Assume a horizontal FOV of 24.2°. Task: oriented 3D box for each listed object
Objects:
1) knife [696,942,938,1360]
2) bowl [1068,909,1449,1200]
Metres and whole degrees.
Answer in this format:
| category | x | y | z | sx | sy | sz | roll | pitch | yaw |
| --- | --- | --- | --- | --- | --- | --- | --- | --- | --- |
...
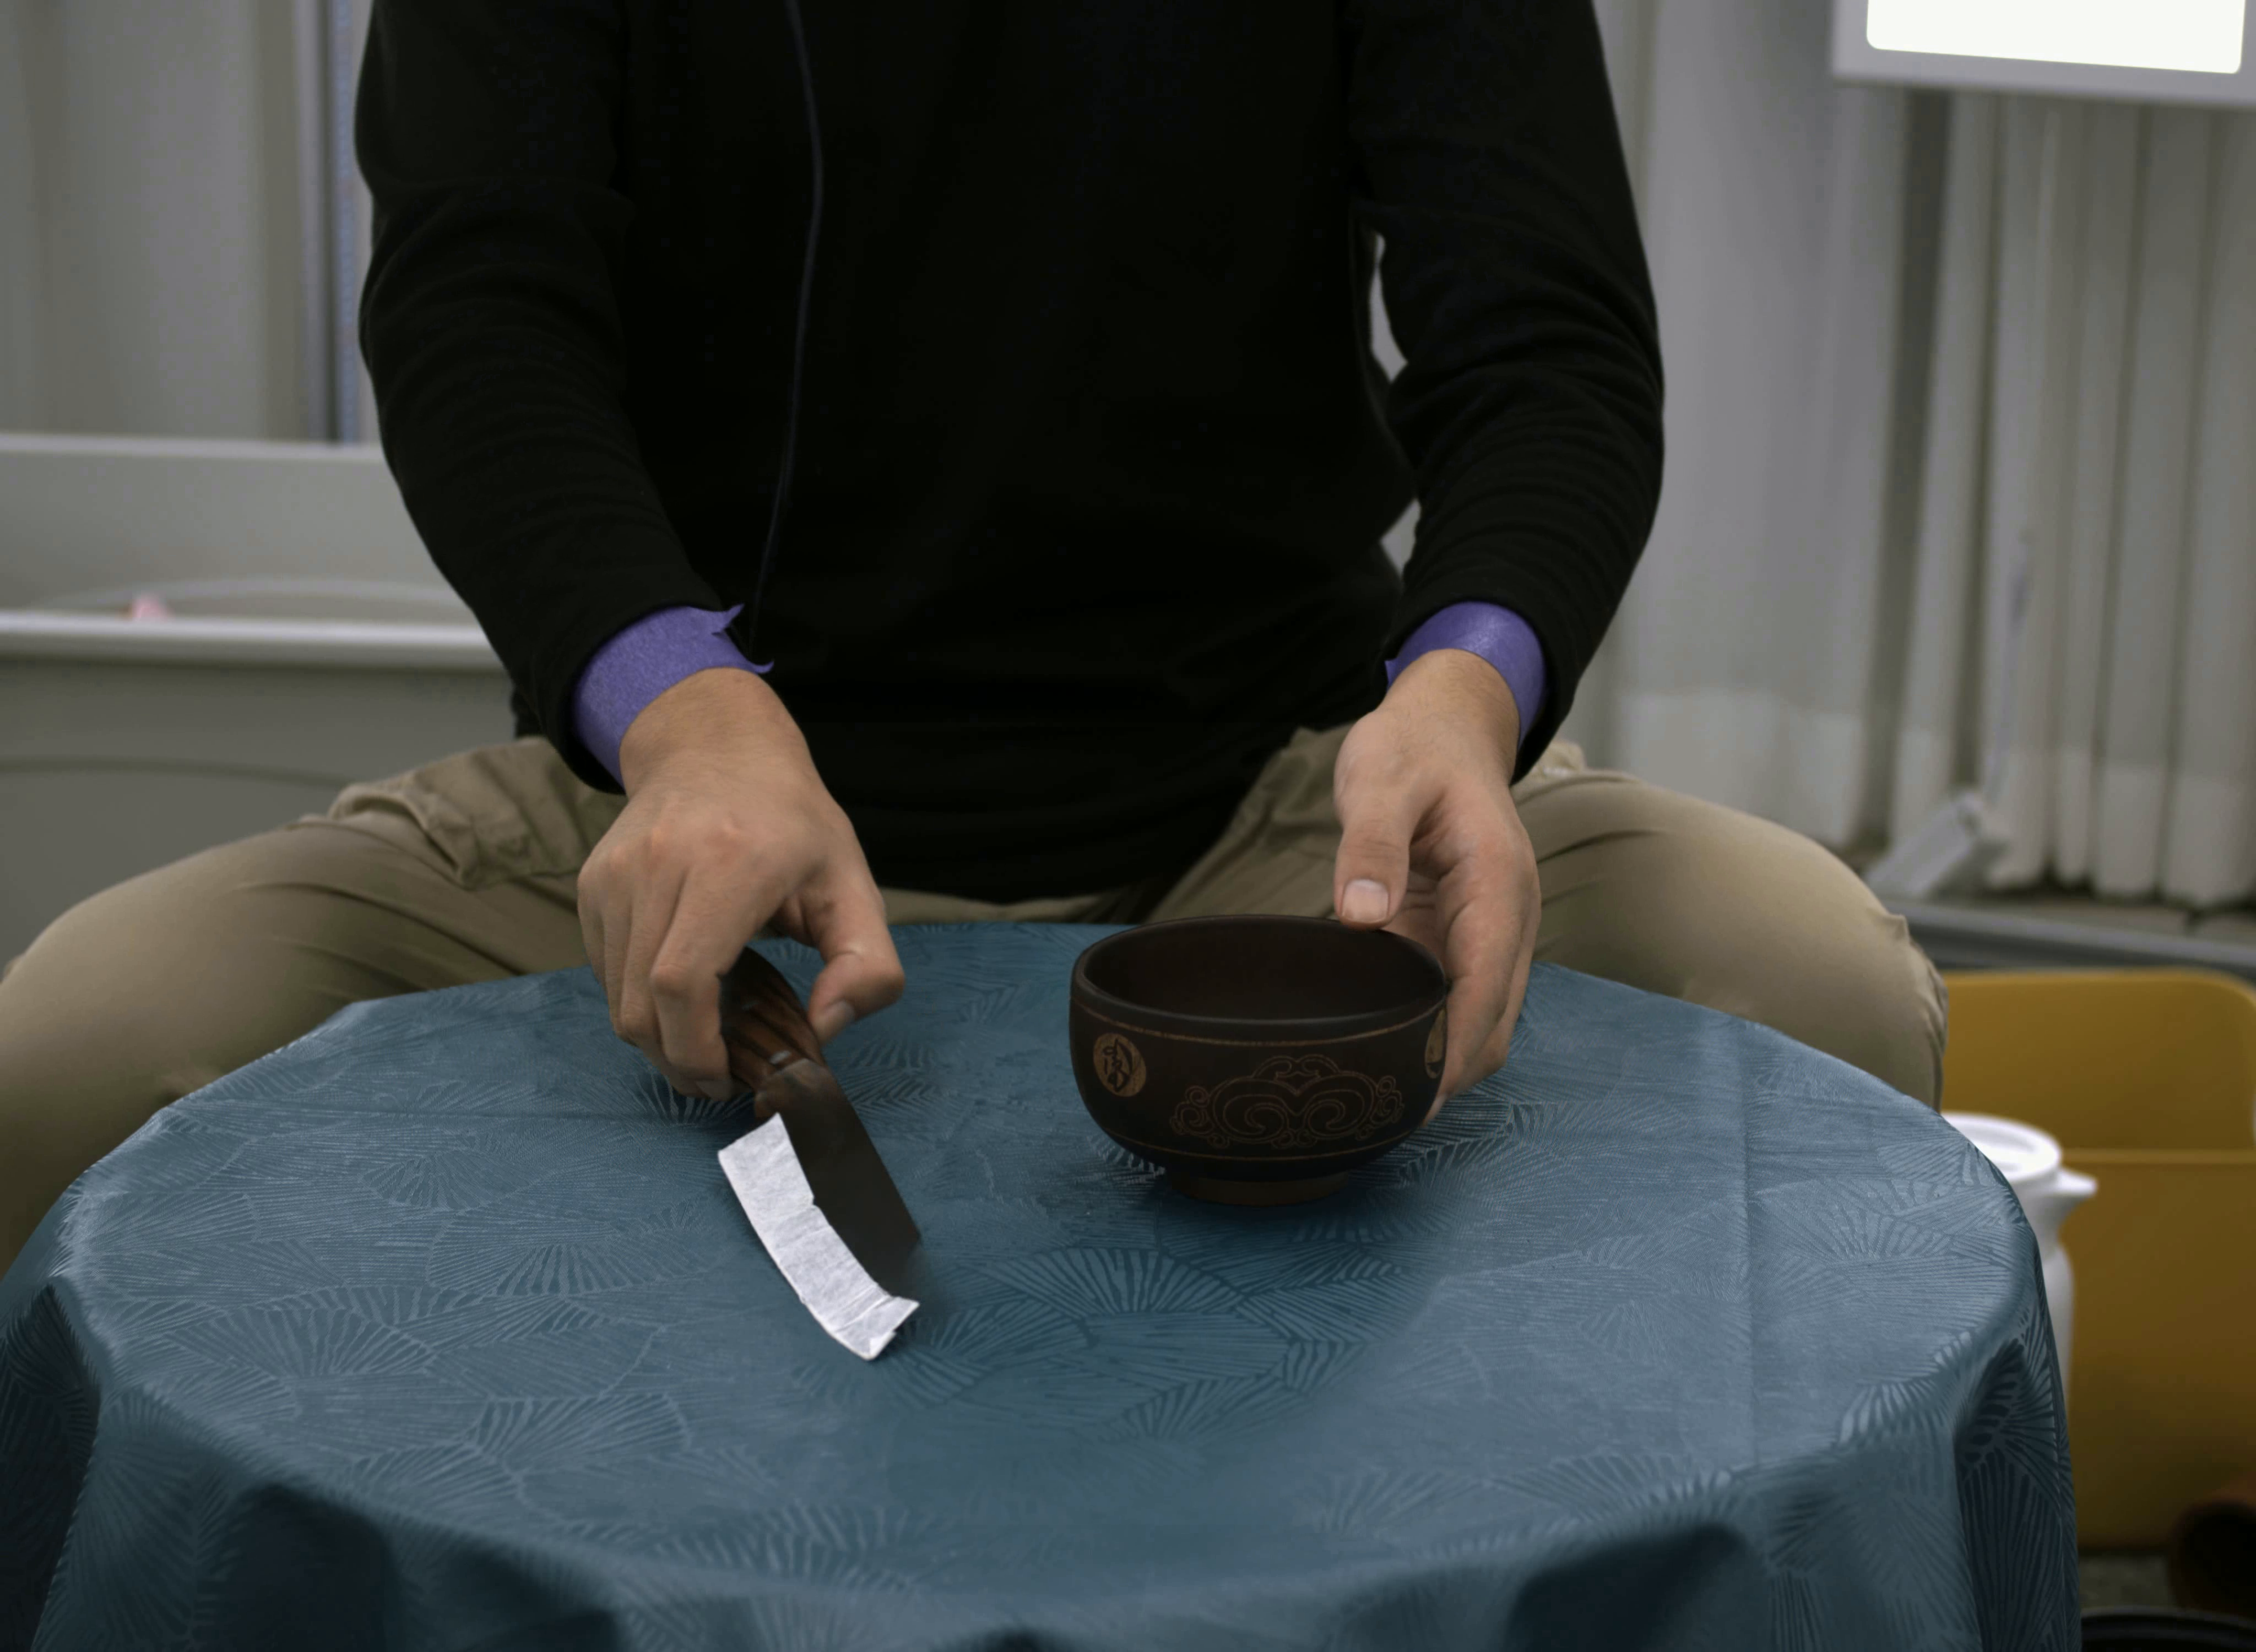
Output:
| category | x | y | z | sx | sy | sz | roll | pitch | yaw |
| --- | --- | --- | --- | --- | --- | --- | --- | --- | --- |
| knife | -0.099 | 0.097 | 1.609 | 0.050 | 0.020 | 0.286 | -30 | 25 | -1 |
| bowl | 0.040 | 0.074 | 1.626 | 0.117 | 0.070 | 0.117 | 1 | 15 | 0 |
